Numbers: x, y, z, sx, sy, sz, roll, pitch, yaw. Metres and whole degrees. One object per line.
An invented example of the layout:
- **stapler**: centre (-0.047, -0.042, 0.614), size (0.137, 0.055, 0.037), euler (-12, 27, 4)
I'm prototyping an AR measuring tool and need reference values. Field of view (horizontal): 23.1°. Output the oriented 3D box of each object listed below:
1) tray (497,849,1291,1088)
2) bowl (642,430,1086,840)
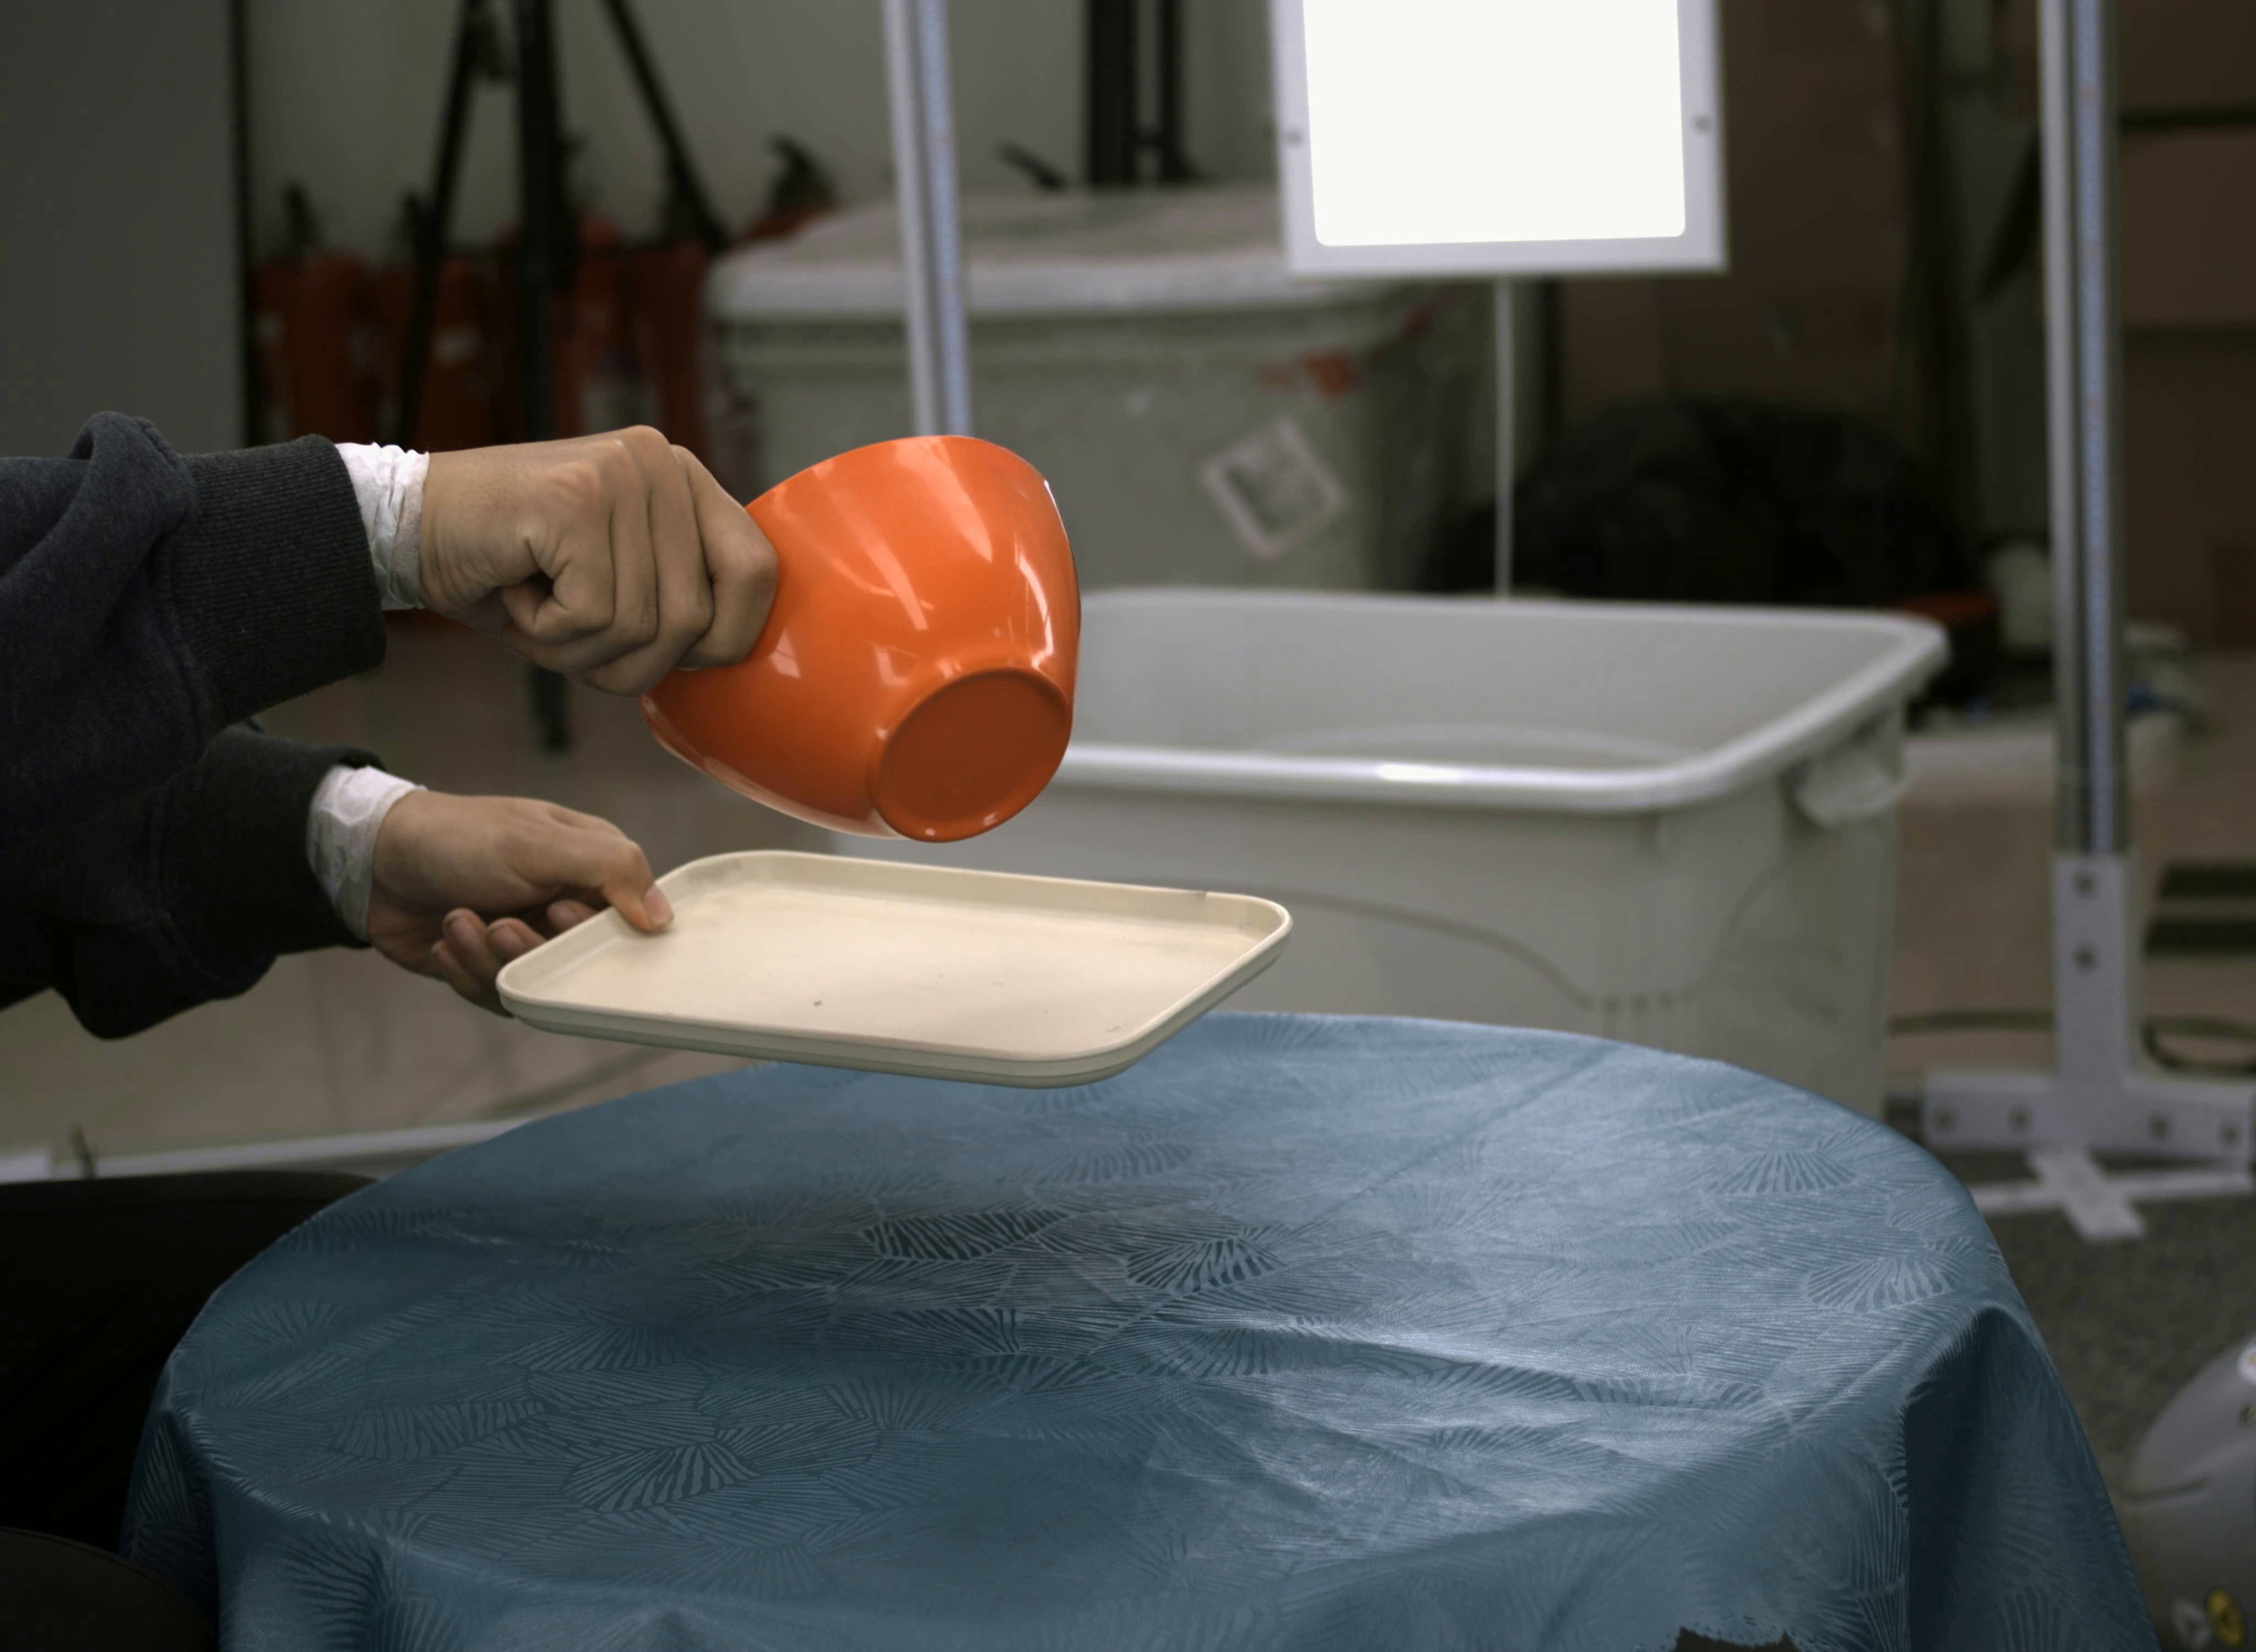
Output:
- **tray**: centre (-0.078, 0.047, 1.845), size (0.244, 0.017, 0.167), euler (5, 20, 28)
- **bowl**: centre (-0.068, -0.044, 1.701), size (0.145, 0.149, 0.106), euler (-10, 42, -24)
